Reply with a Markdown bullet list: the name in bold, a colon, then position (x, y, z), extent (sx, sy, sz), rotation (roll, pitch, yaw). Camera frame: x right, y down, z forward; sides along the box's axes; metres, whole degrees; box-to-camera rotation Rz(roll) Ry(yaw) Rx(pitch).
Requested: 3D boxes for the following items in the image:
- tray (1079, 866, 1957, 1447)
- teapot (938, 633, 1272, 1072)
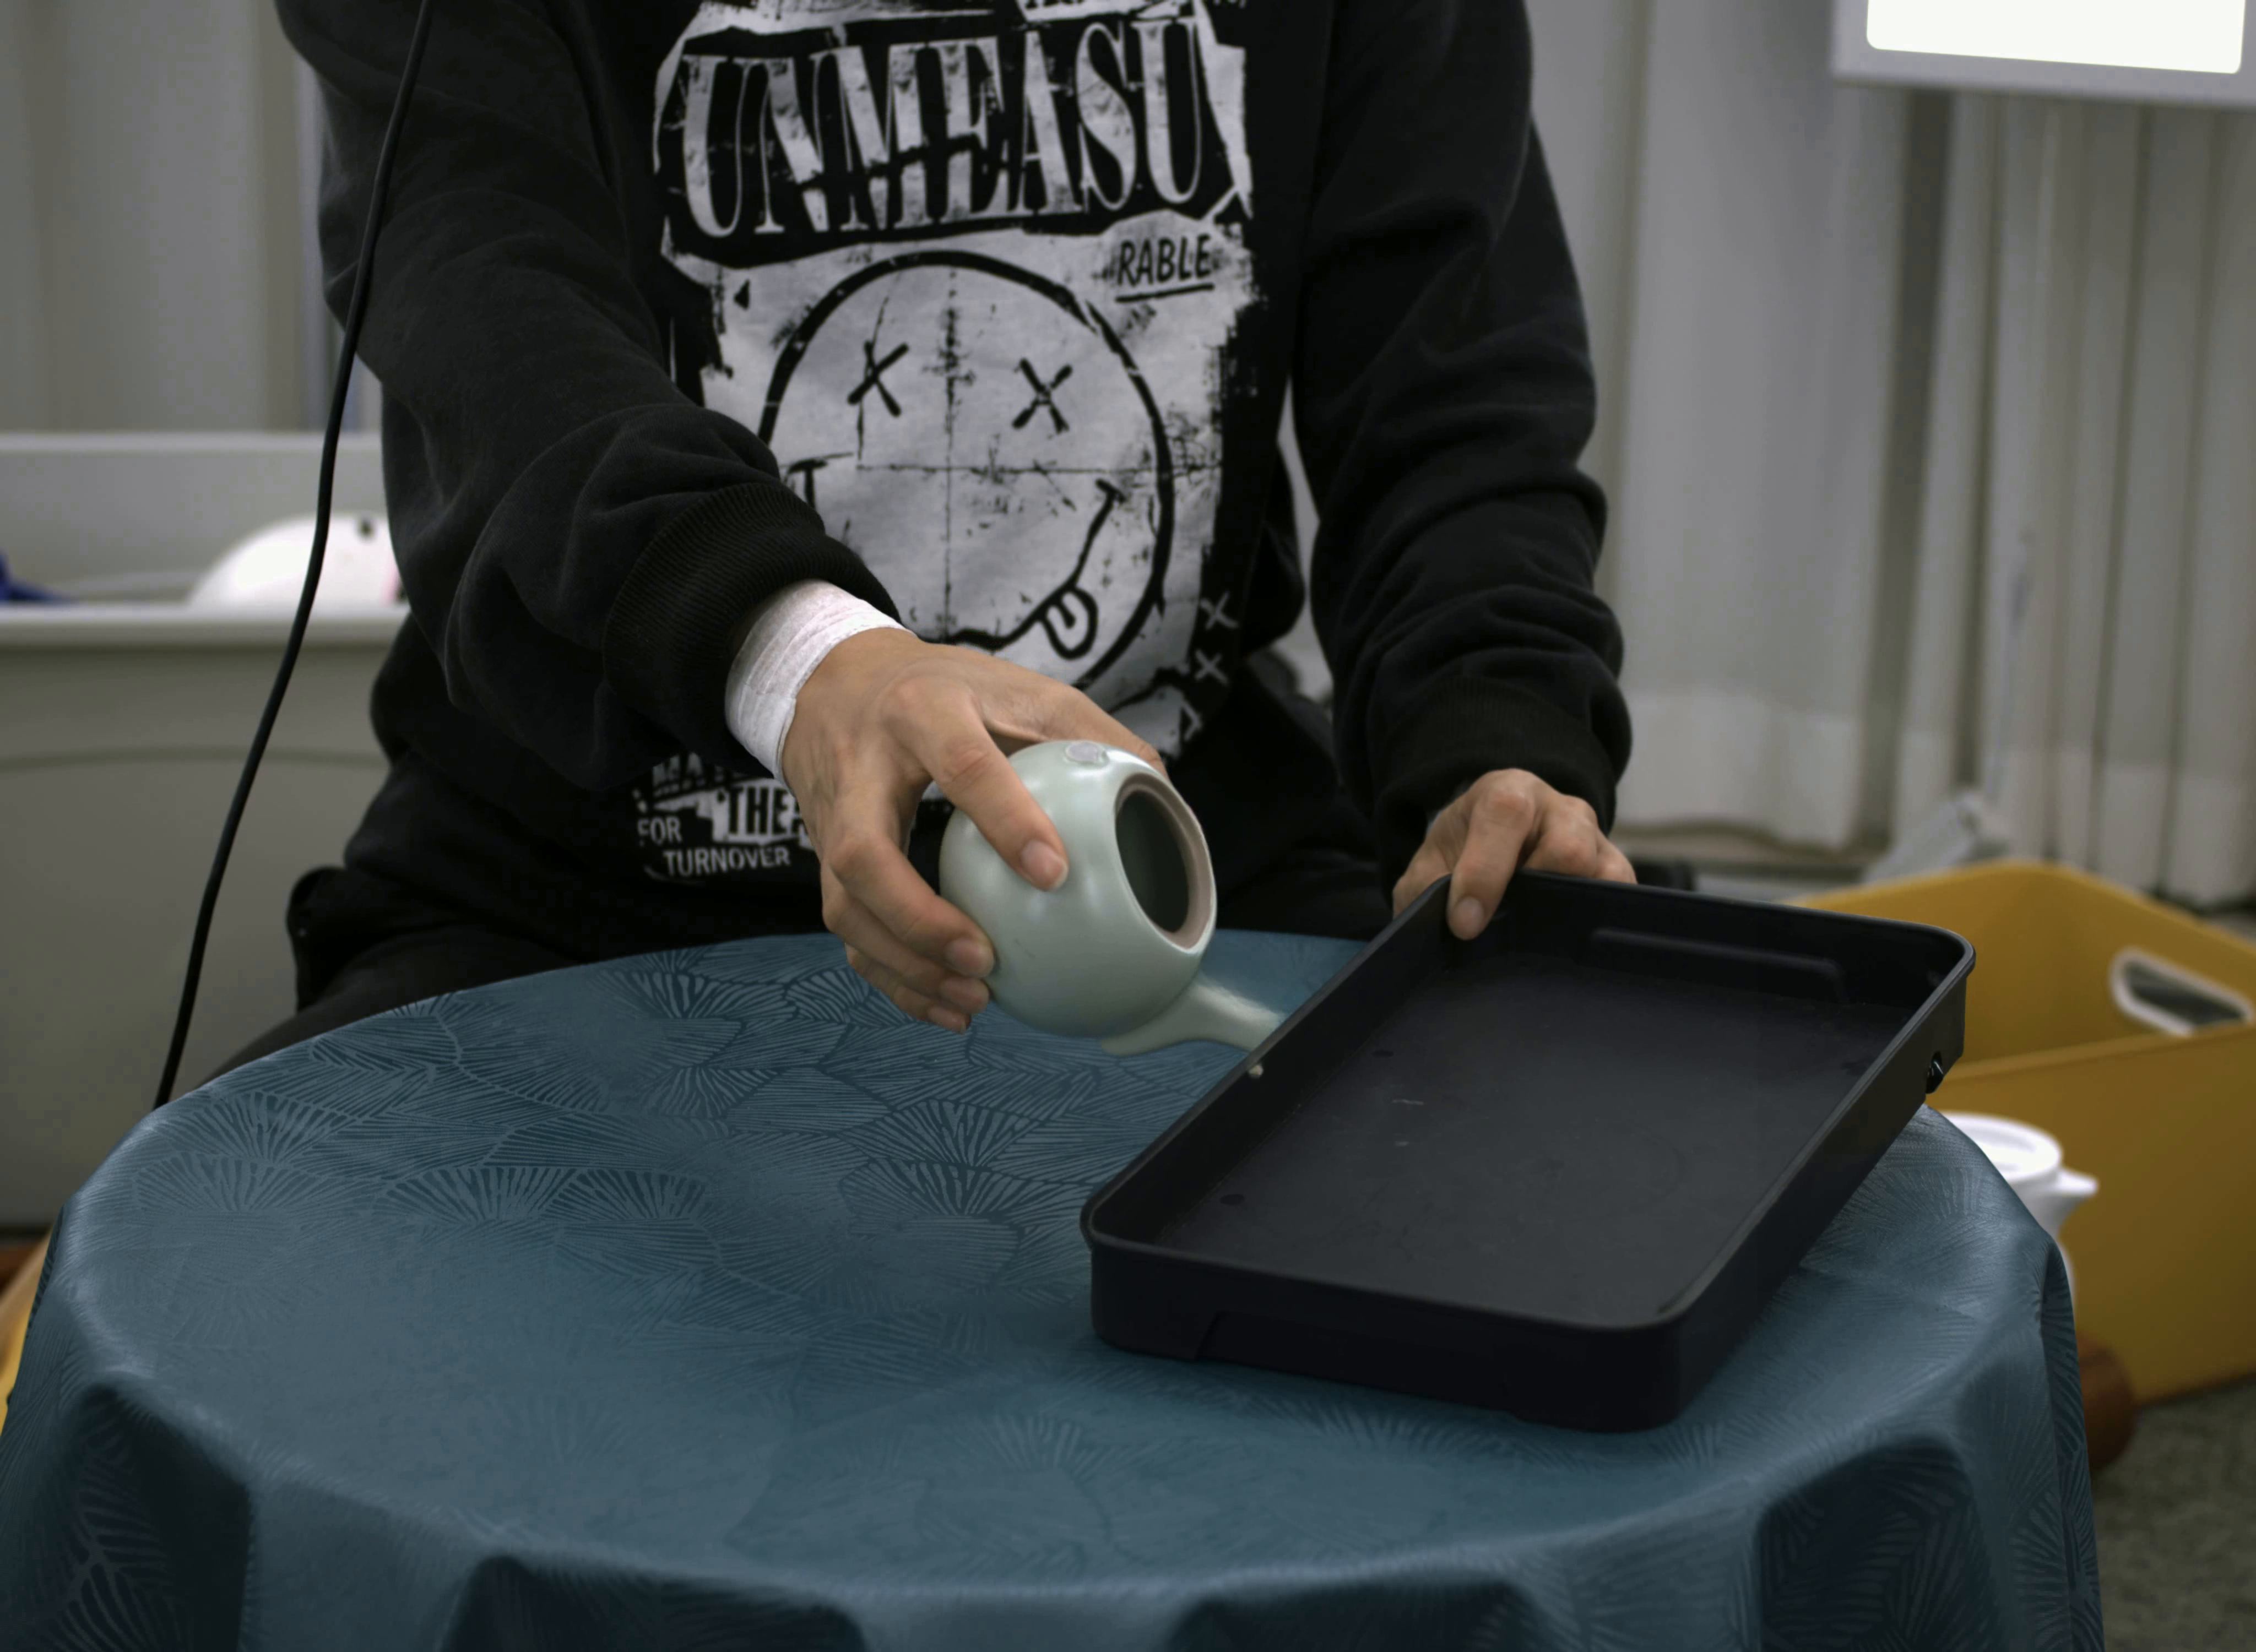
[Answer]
- **tray**: position (0.124, 0.091, 1.581), extent (0.182, 0.037, 0.318), rotation (8, 23, 21)
- **teapot**: position (-0.014, 0.015, 1.539), extent (0.074, 0.145, 0.088), rotation (-16, 14, 26)
